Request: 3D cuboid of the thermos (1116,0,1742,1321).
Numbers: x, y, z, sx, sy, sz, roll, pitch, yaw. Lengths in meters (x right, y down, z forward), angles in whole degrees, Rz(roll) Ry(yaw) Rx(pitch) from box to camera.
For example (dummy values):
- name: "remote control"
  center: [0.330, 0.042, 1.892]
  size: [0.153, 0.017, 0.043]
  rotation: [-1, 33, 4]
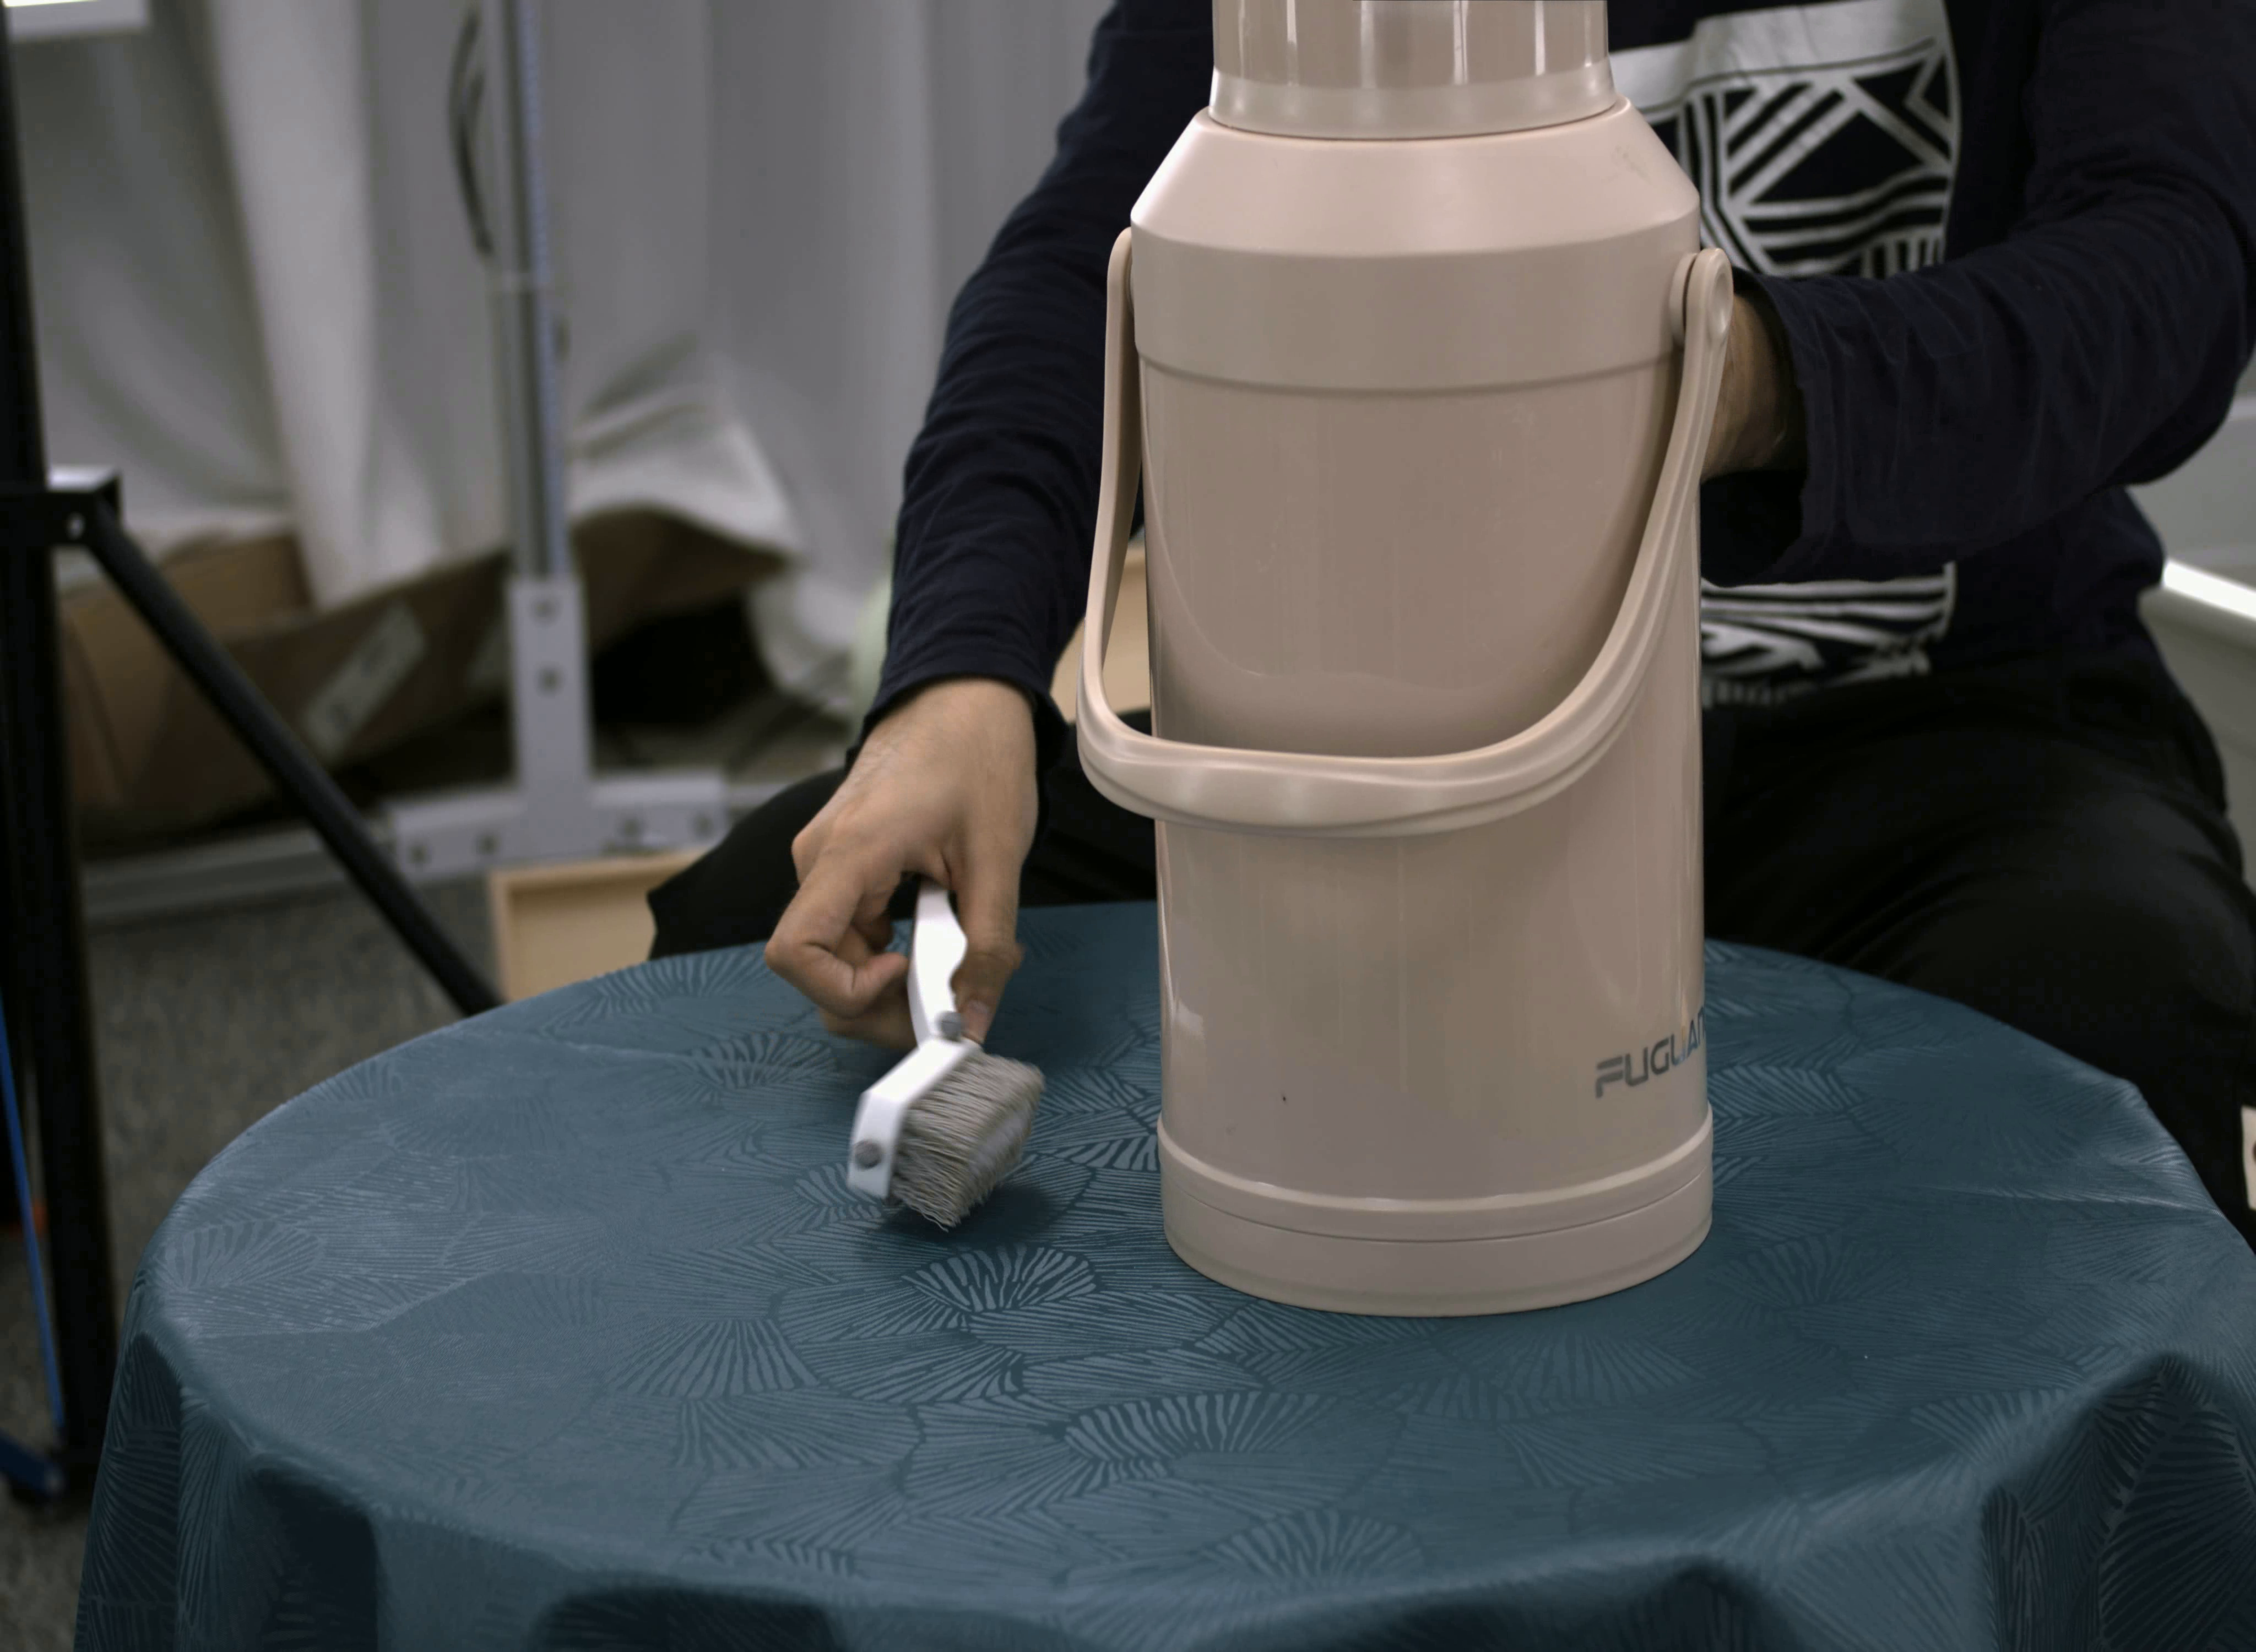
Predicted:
- name: "thermos"
  center: [0.091, -0.080, 1.486]
  size: [0.178, 0.406, 0.204]
  rotation: [3, 15, 23]

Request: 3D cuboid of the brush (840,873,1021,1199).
- name: "brush"
  center: [-0.054, 0.059, 1.632]
  size: [0.050, 0.034, 0.244]
  rotation: [-1, 16, 3]
